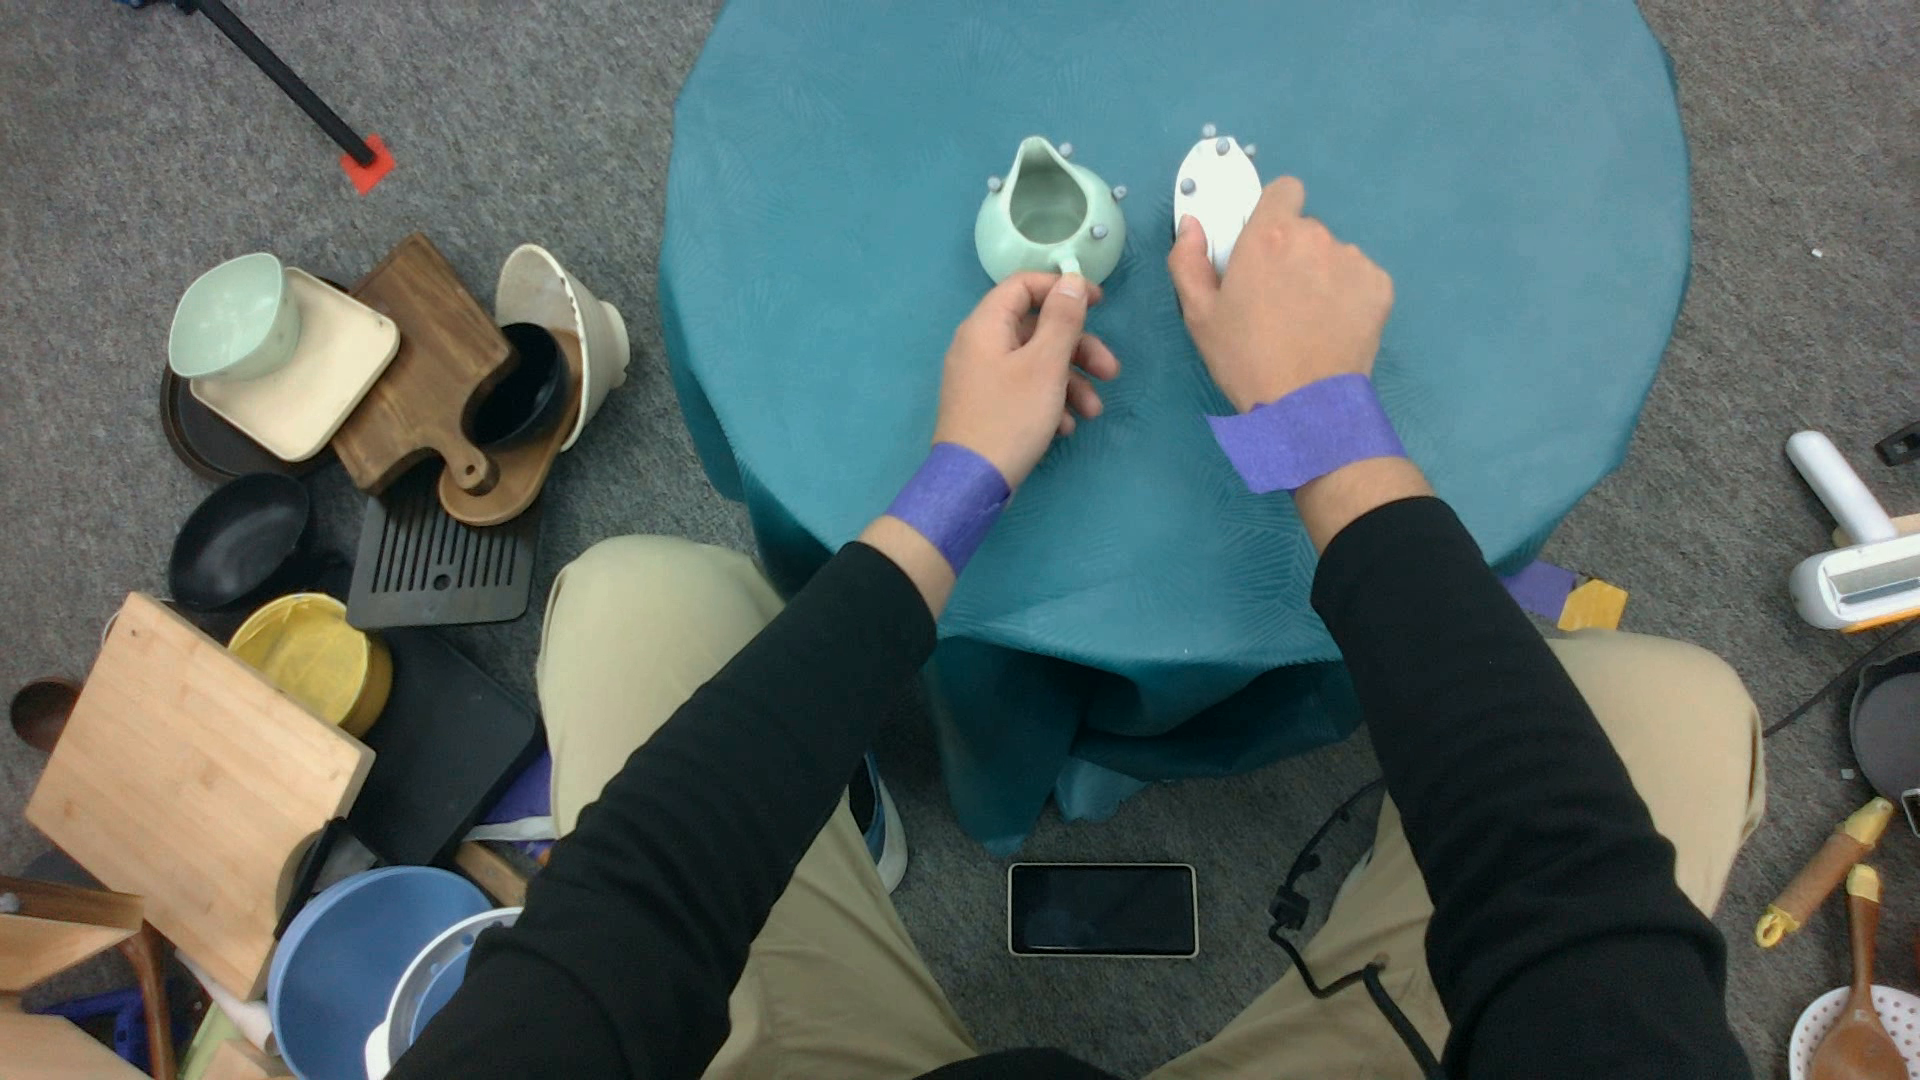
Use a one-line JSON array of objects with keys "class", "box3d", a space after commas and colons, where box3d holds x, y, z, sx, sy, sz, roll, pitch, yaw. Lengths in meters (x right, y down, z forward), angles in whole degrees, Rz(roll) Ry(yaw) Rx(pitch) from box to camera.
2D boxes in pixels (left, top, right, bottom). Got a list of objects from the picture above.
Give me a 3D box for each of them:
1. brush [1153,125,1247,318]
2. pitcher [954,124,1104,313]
[{"class": "brush", "box3d": [0.133, -0.183, 0.762, 0.050, 0.072, 0.099, -3, 71, 6]}, {"class": "pitcher", "box3d": [0.042, -0.176, 0.778, 0.086, 0.060, 0.108, -18, 75, 0]}]
